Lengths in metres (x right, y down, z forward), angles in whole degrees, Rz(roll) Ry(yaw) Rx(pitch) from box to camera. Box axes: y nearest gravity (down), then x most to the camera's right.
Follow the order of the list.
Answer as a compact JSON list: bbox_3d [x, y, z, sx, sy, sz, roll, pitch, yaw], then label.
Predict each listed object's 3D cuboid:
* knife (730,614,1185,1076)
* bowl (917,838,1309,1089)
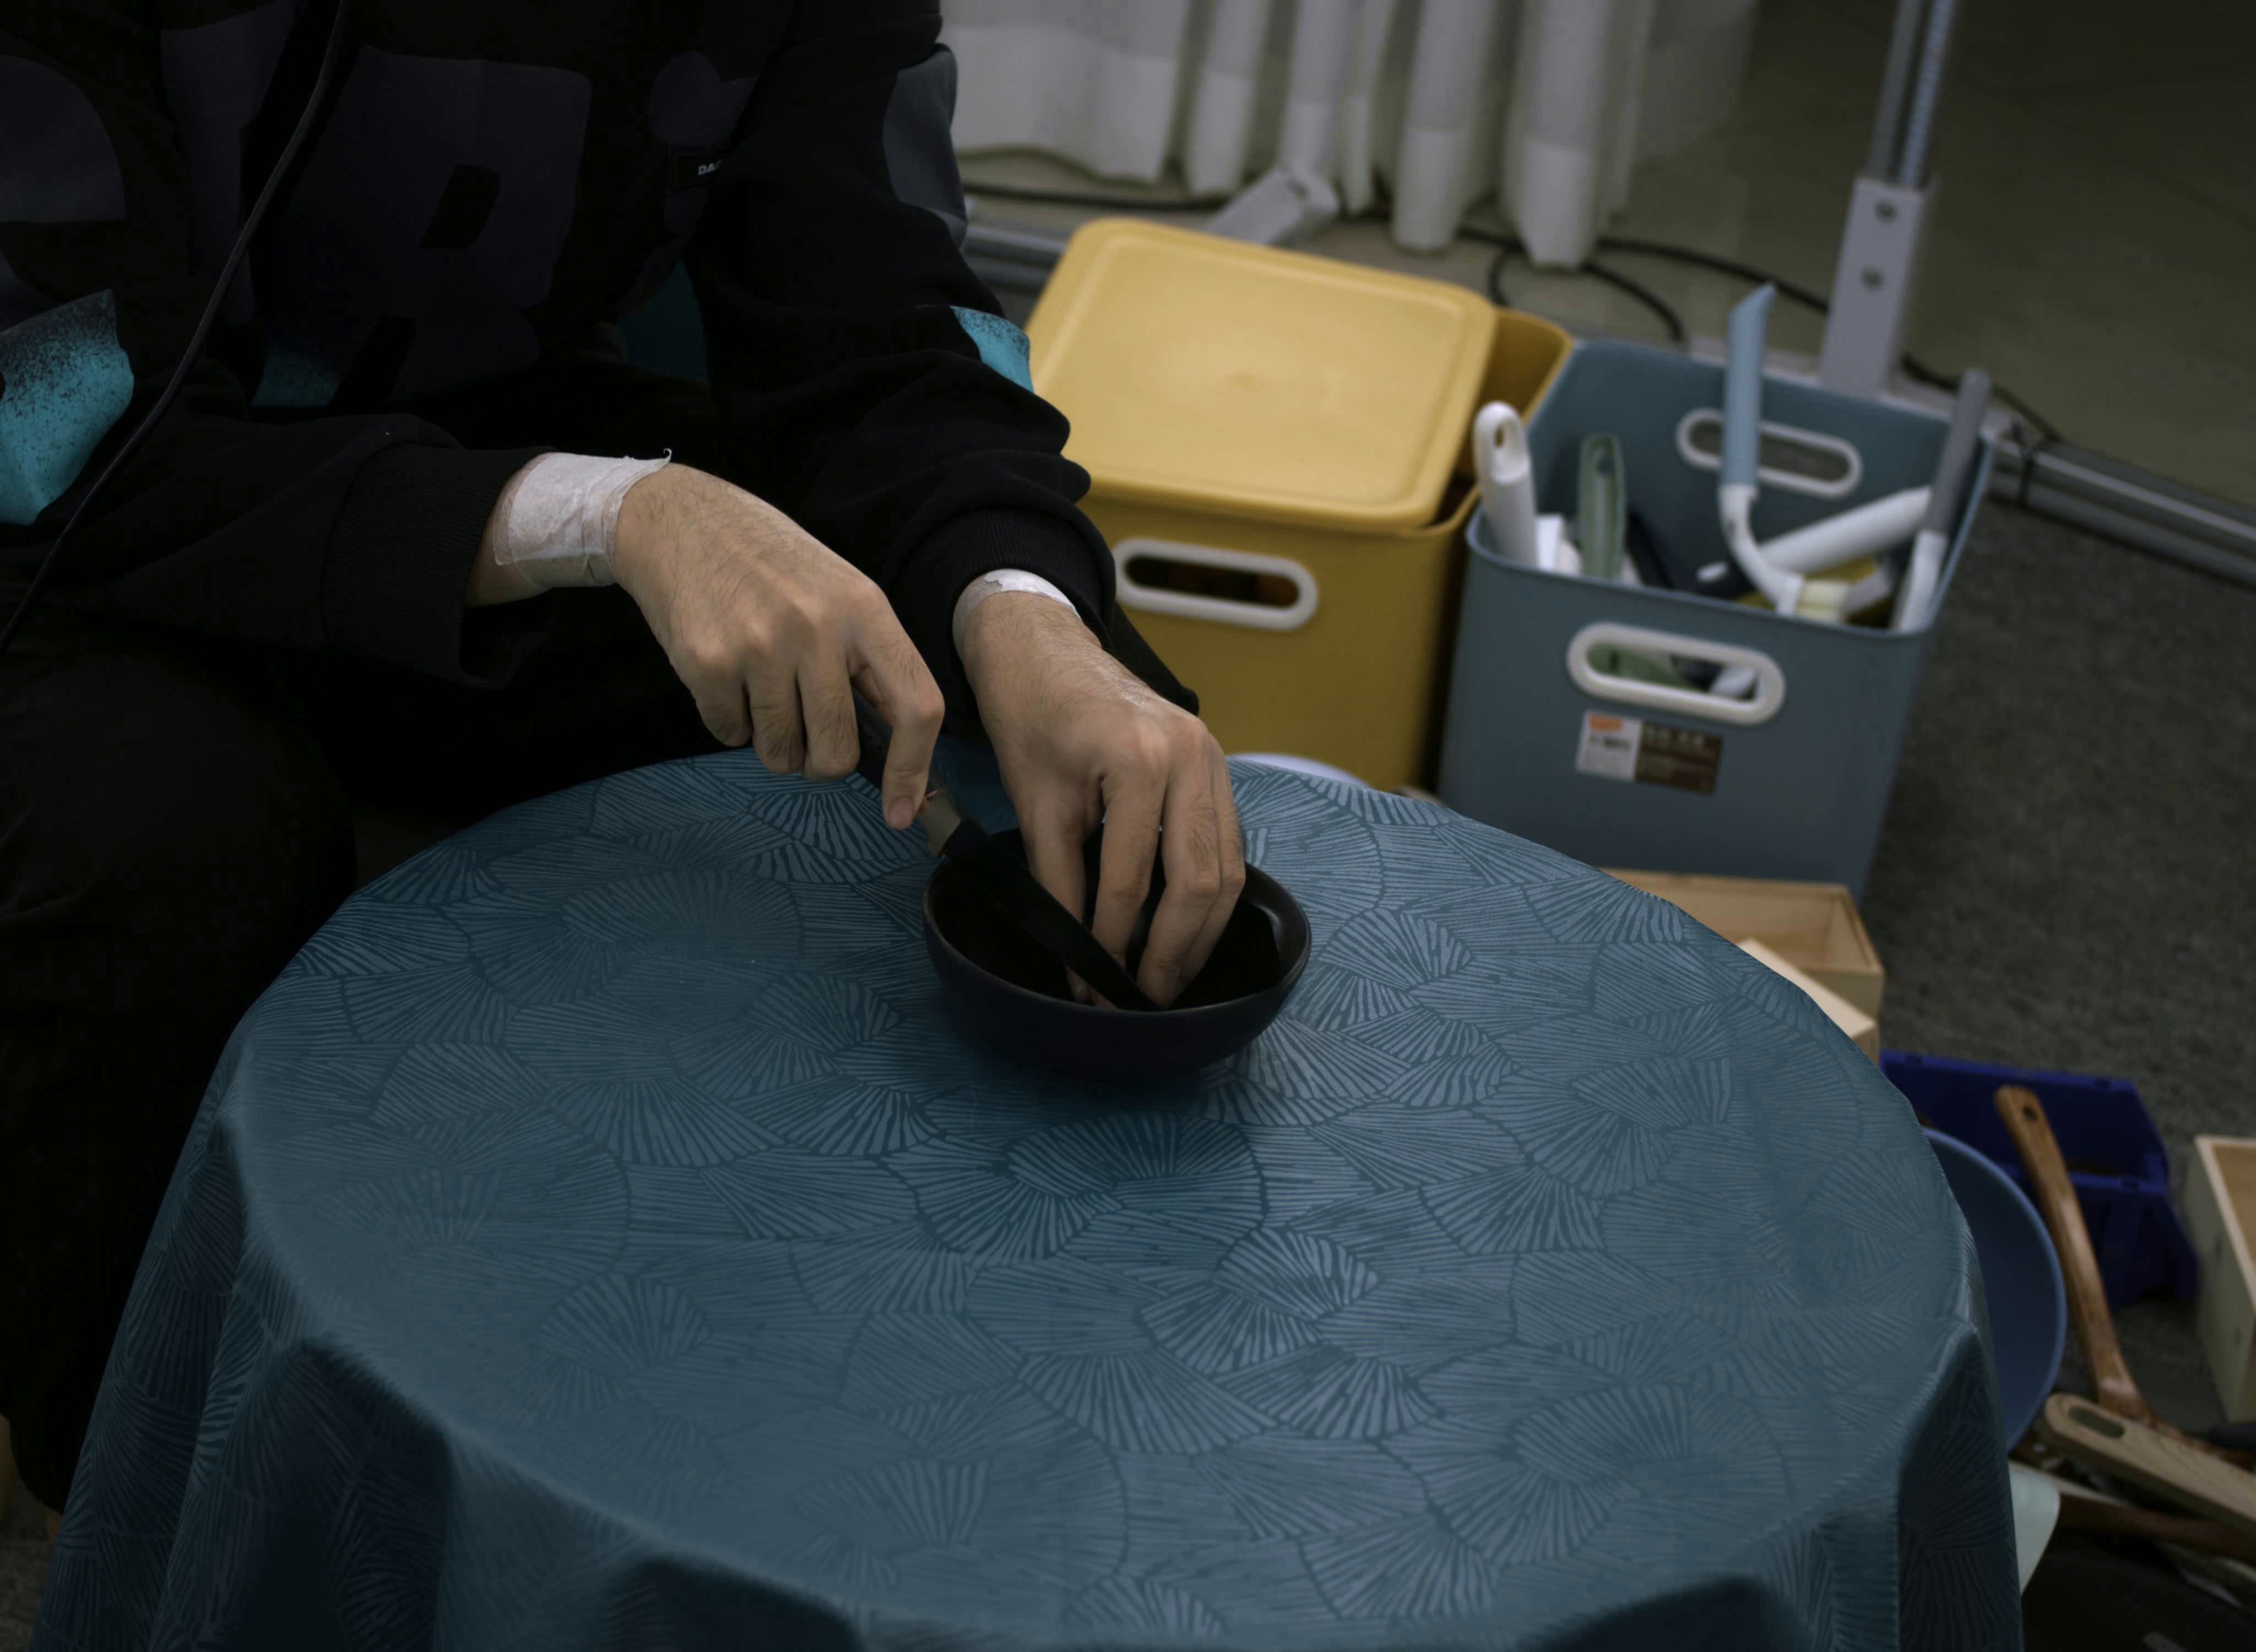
[{"bbox_3d":[-0.058,0.007,1.889,0.226,0.026,0.017,44,43,5],"label":"knife"},{"bbox_3d":[-0.006,0.055,1.887,0.139,0.049,0.141,2,25,-1],"label":"bowl"}]
